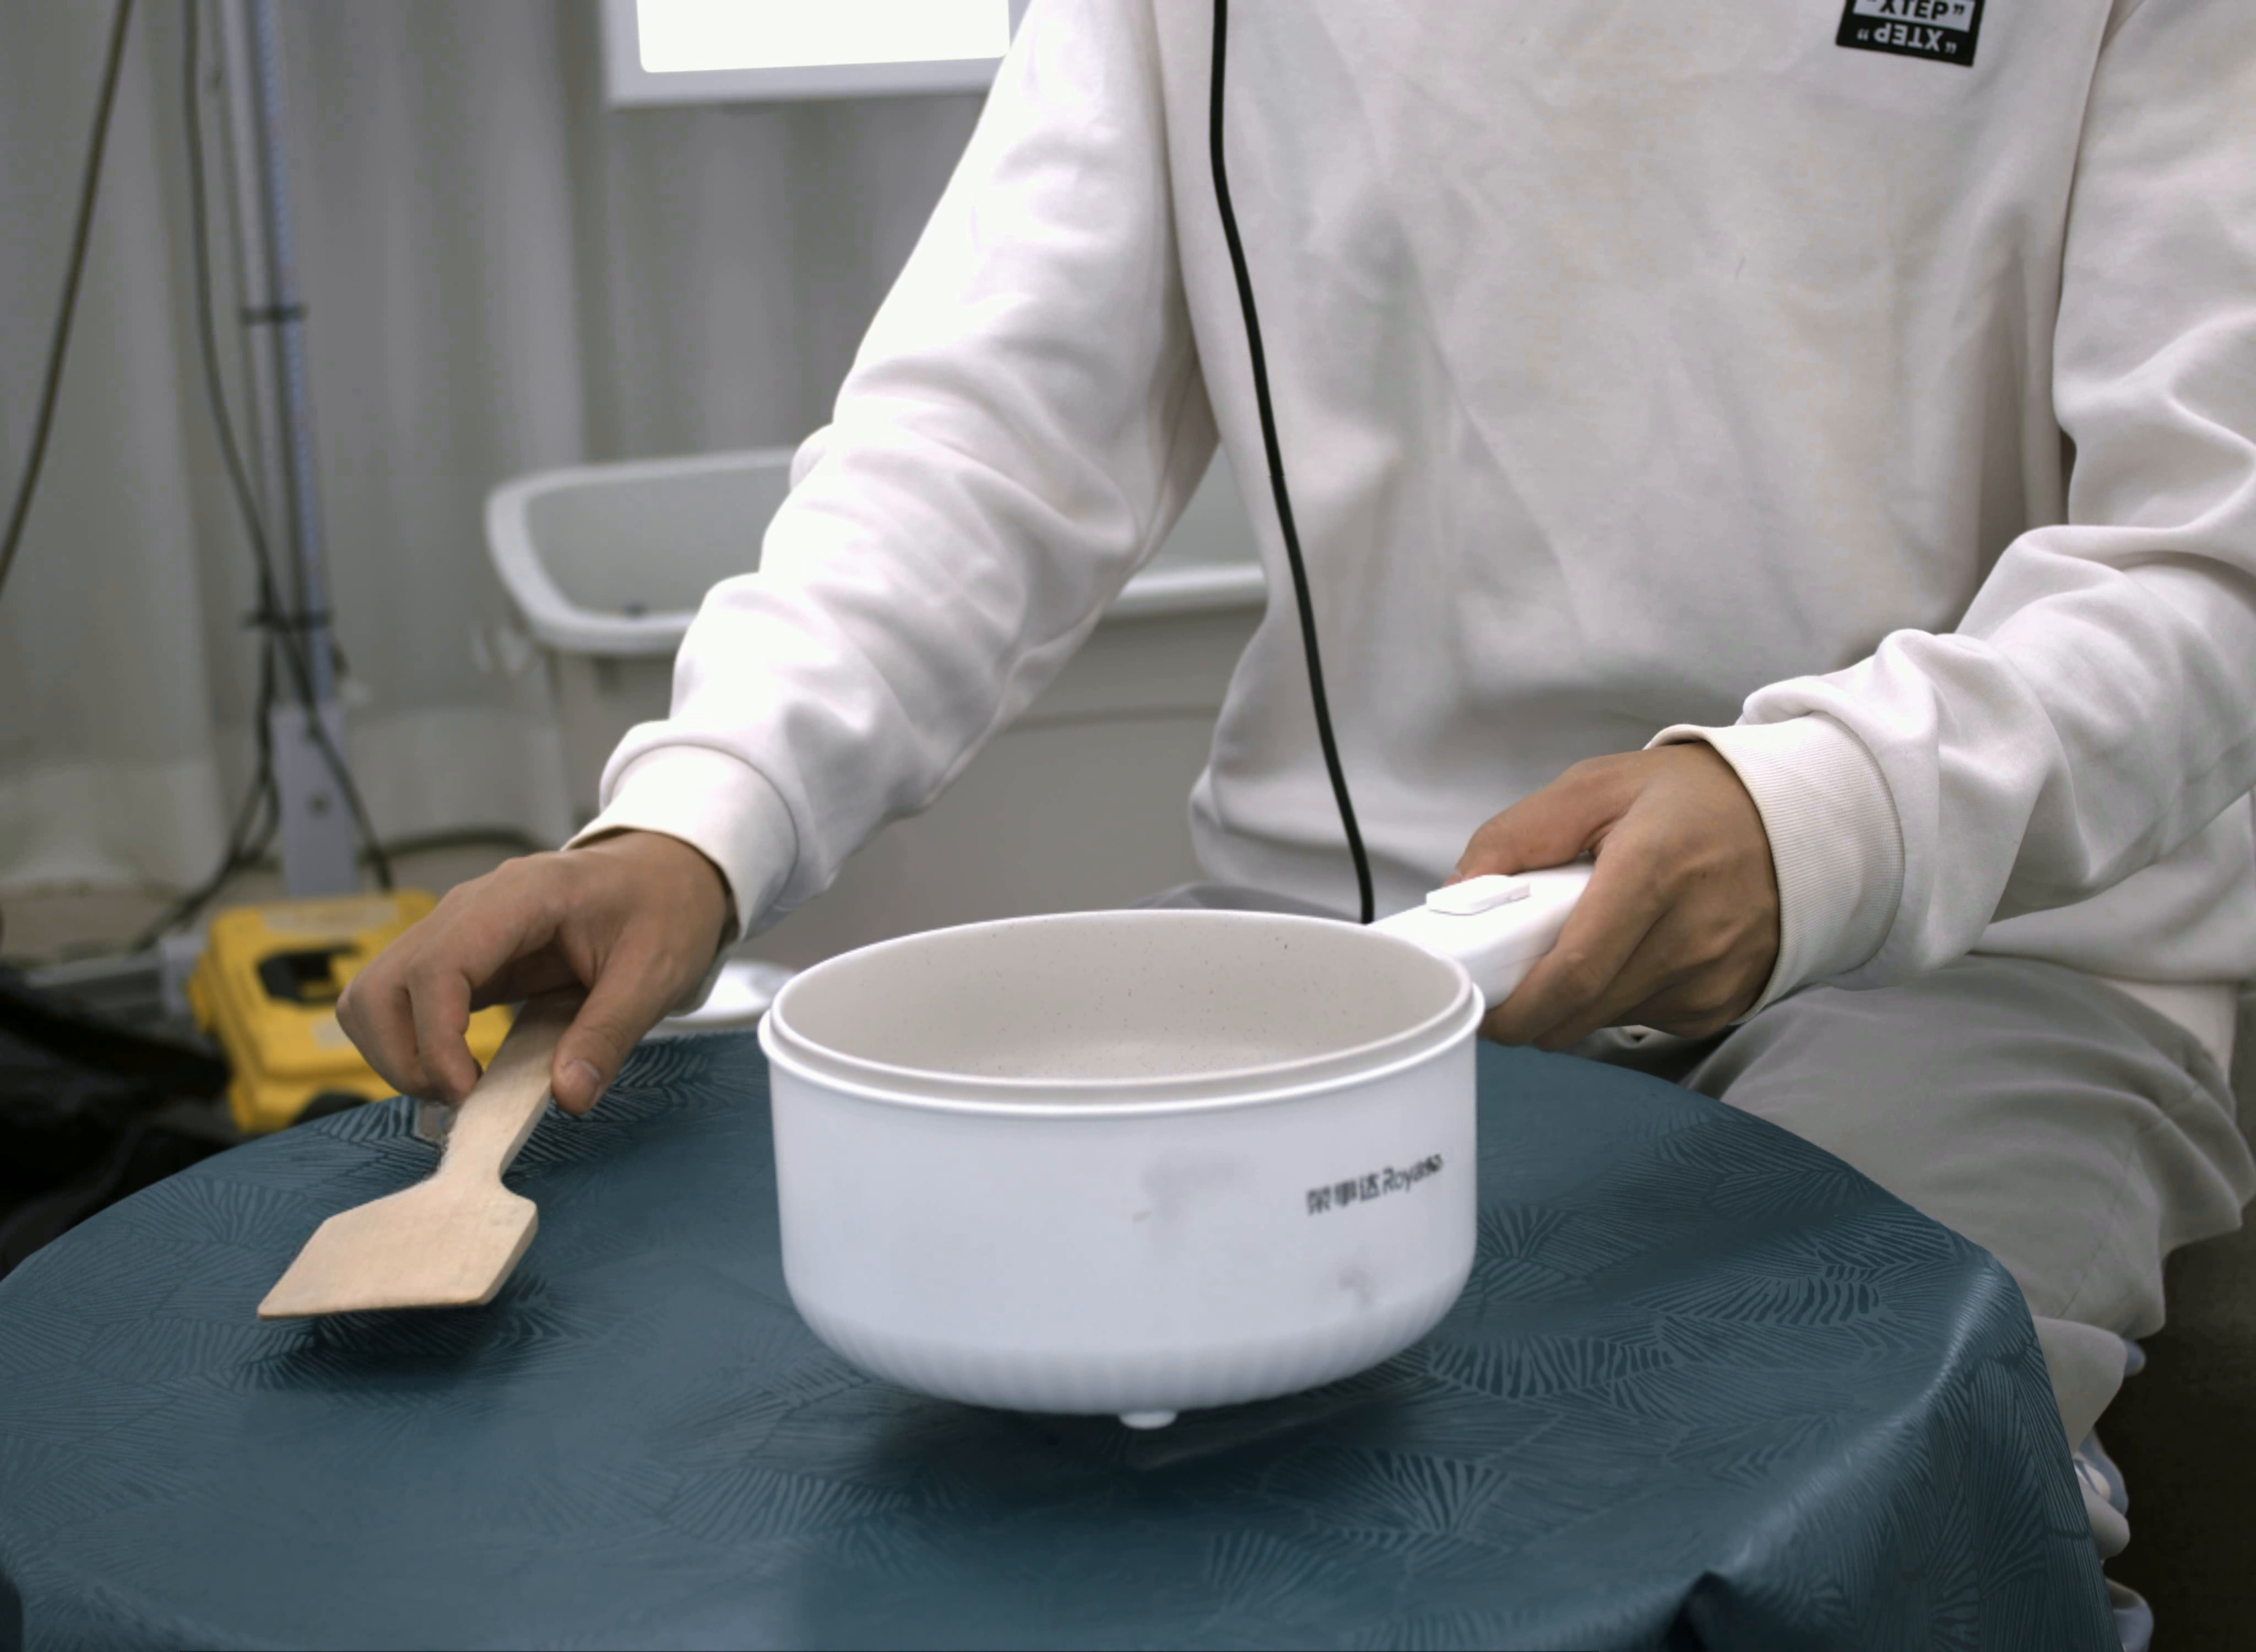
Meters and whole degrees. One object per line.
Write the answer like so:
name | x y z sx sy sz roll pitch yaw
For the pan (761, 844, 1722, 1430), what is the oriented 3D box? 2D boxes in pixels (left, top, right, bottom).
pan | 0.051 0.083 1.576 0.202 0.102 0.354 7 14 41

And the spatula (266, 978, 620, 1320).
spatula | -0.202 0.099 1.723 0.072 0.010 0.295 -5 17 8
